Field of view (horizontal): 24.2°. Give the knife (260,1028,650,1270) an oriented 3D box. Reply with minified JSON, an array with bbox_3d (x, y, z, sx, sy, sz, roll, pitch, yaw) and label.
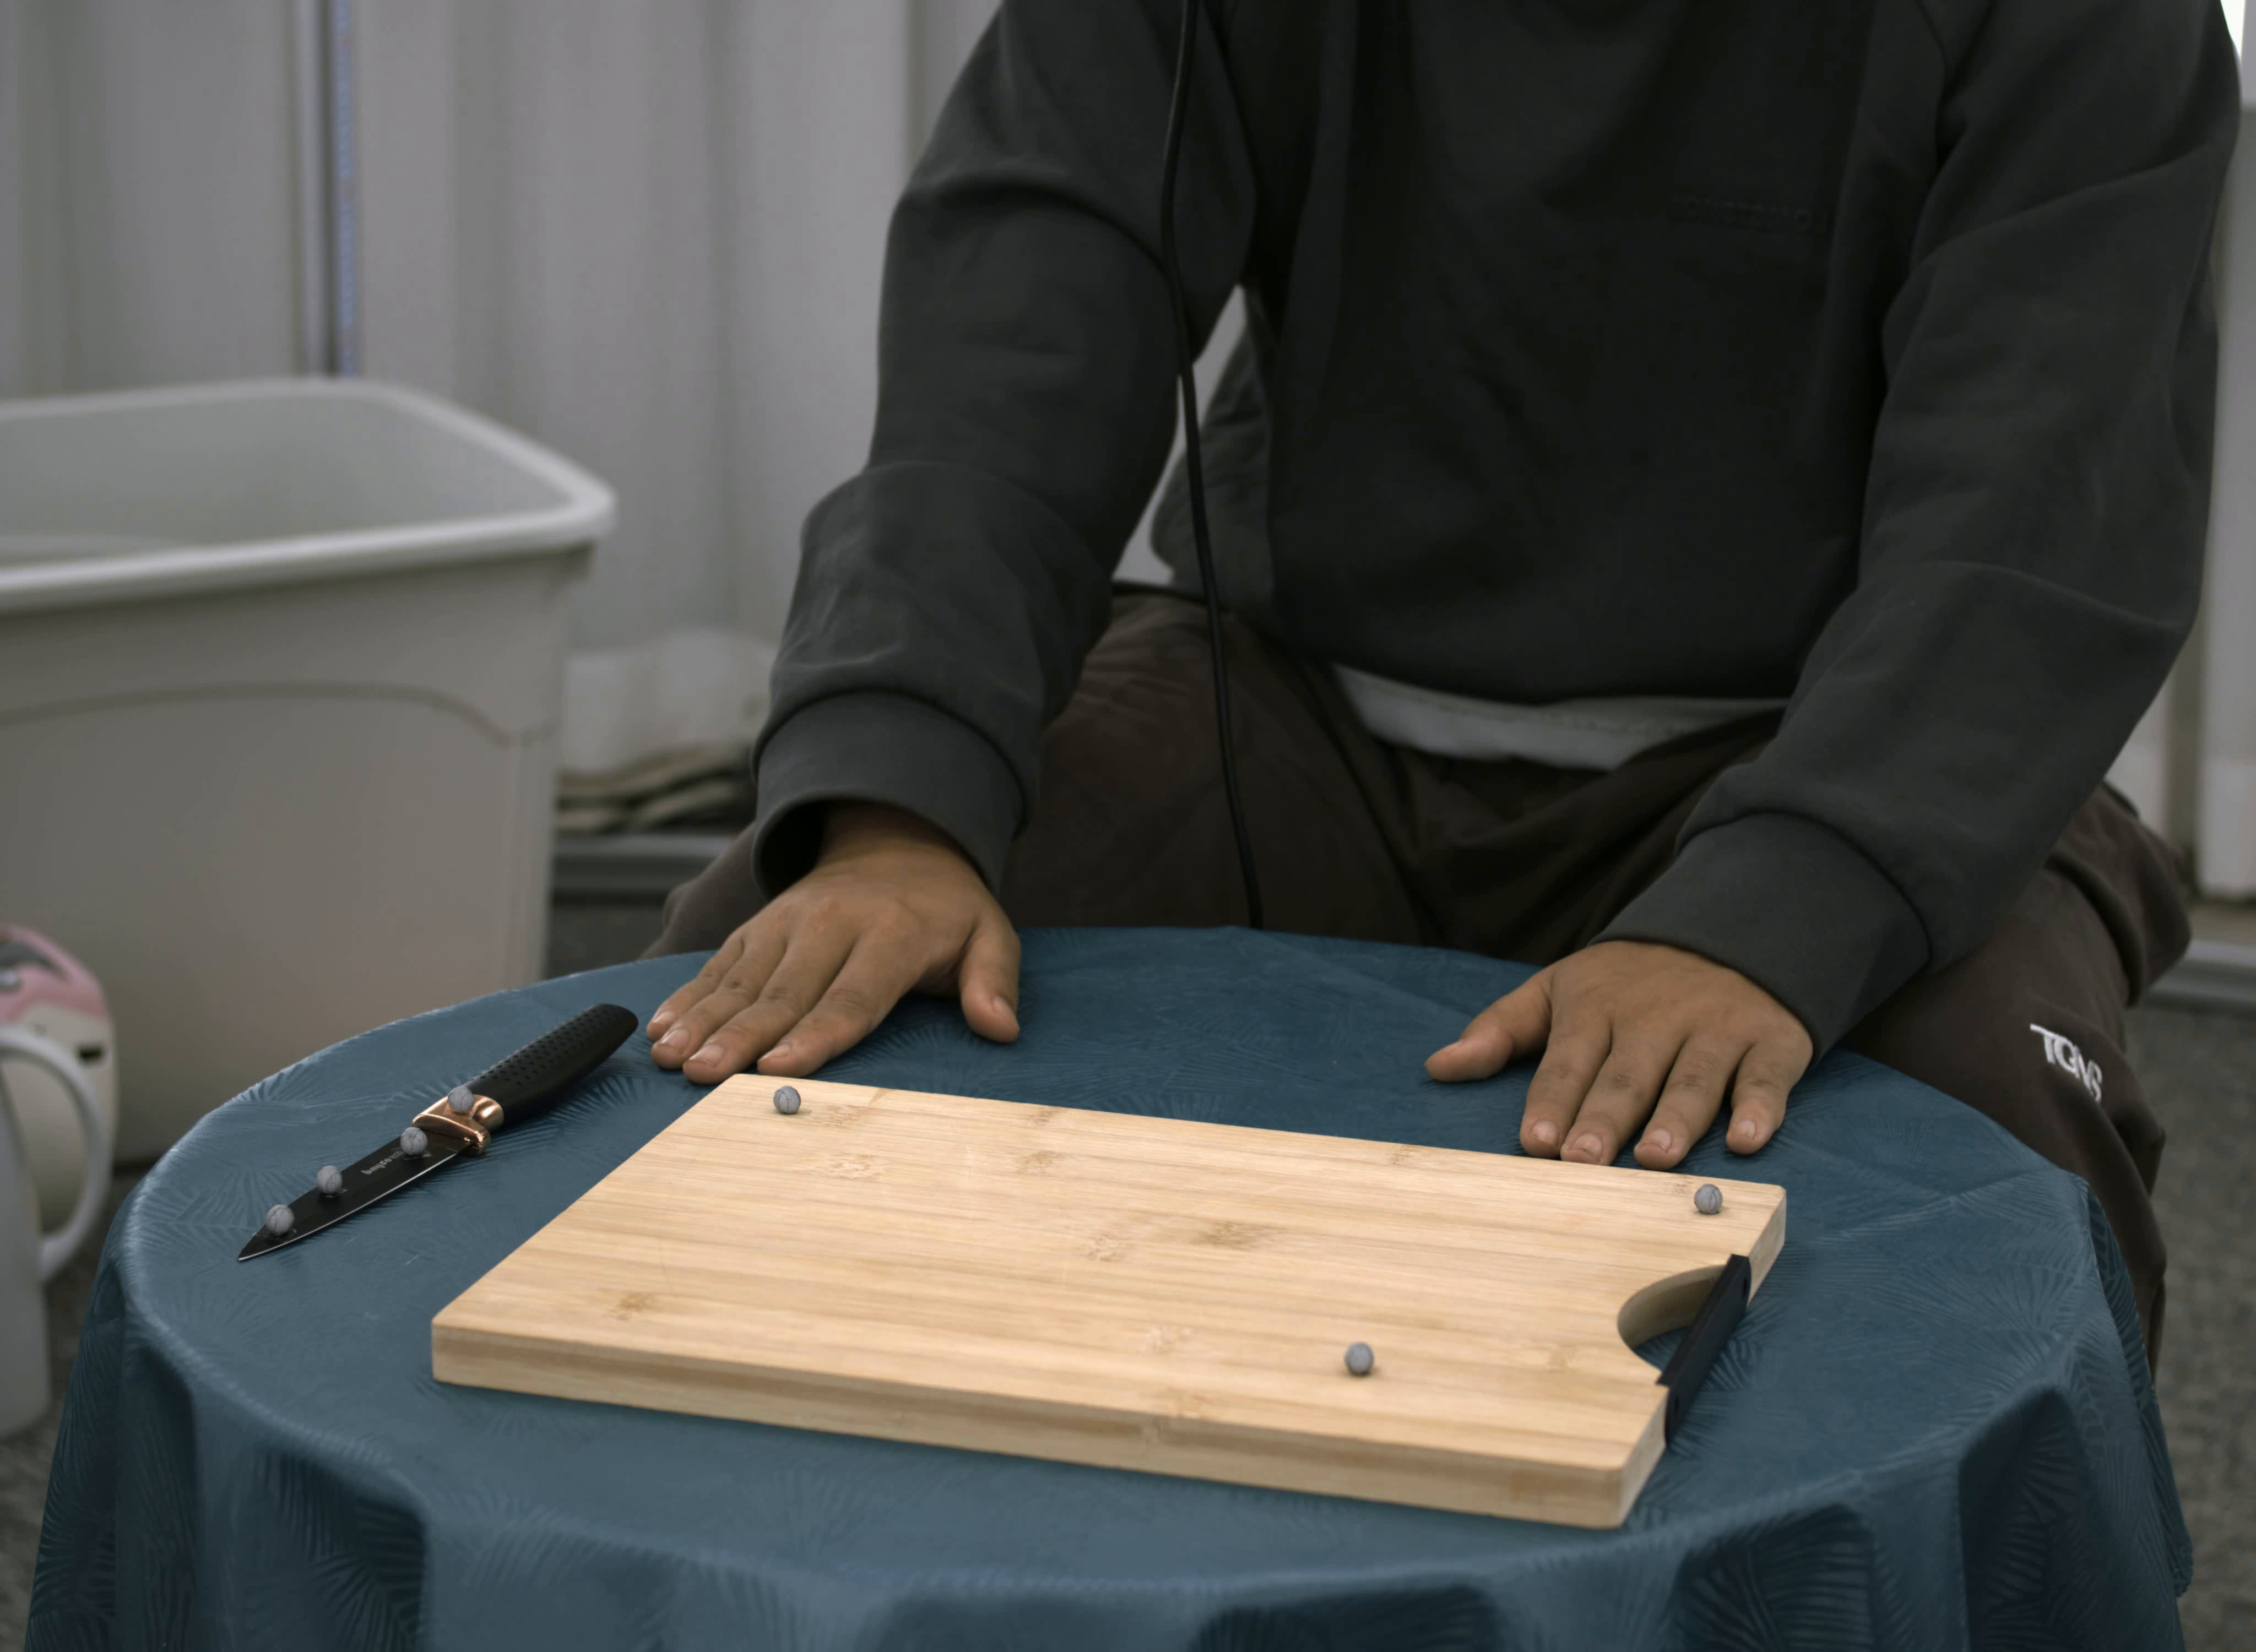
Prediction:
[{"bbox_3d":[-0.211,0.100,1.643,0.026,0.017,0.226,14,20,22],"label":"knife"}]

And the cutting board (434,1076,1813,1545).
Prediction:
[{"bbox_3d":[0.007,0.133,1.522,0.346,0.024,0.250,5,16,15],"label":"cutting board"}]
